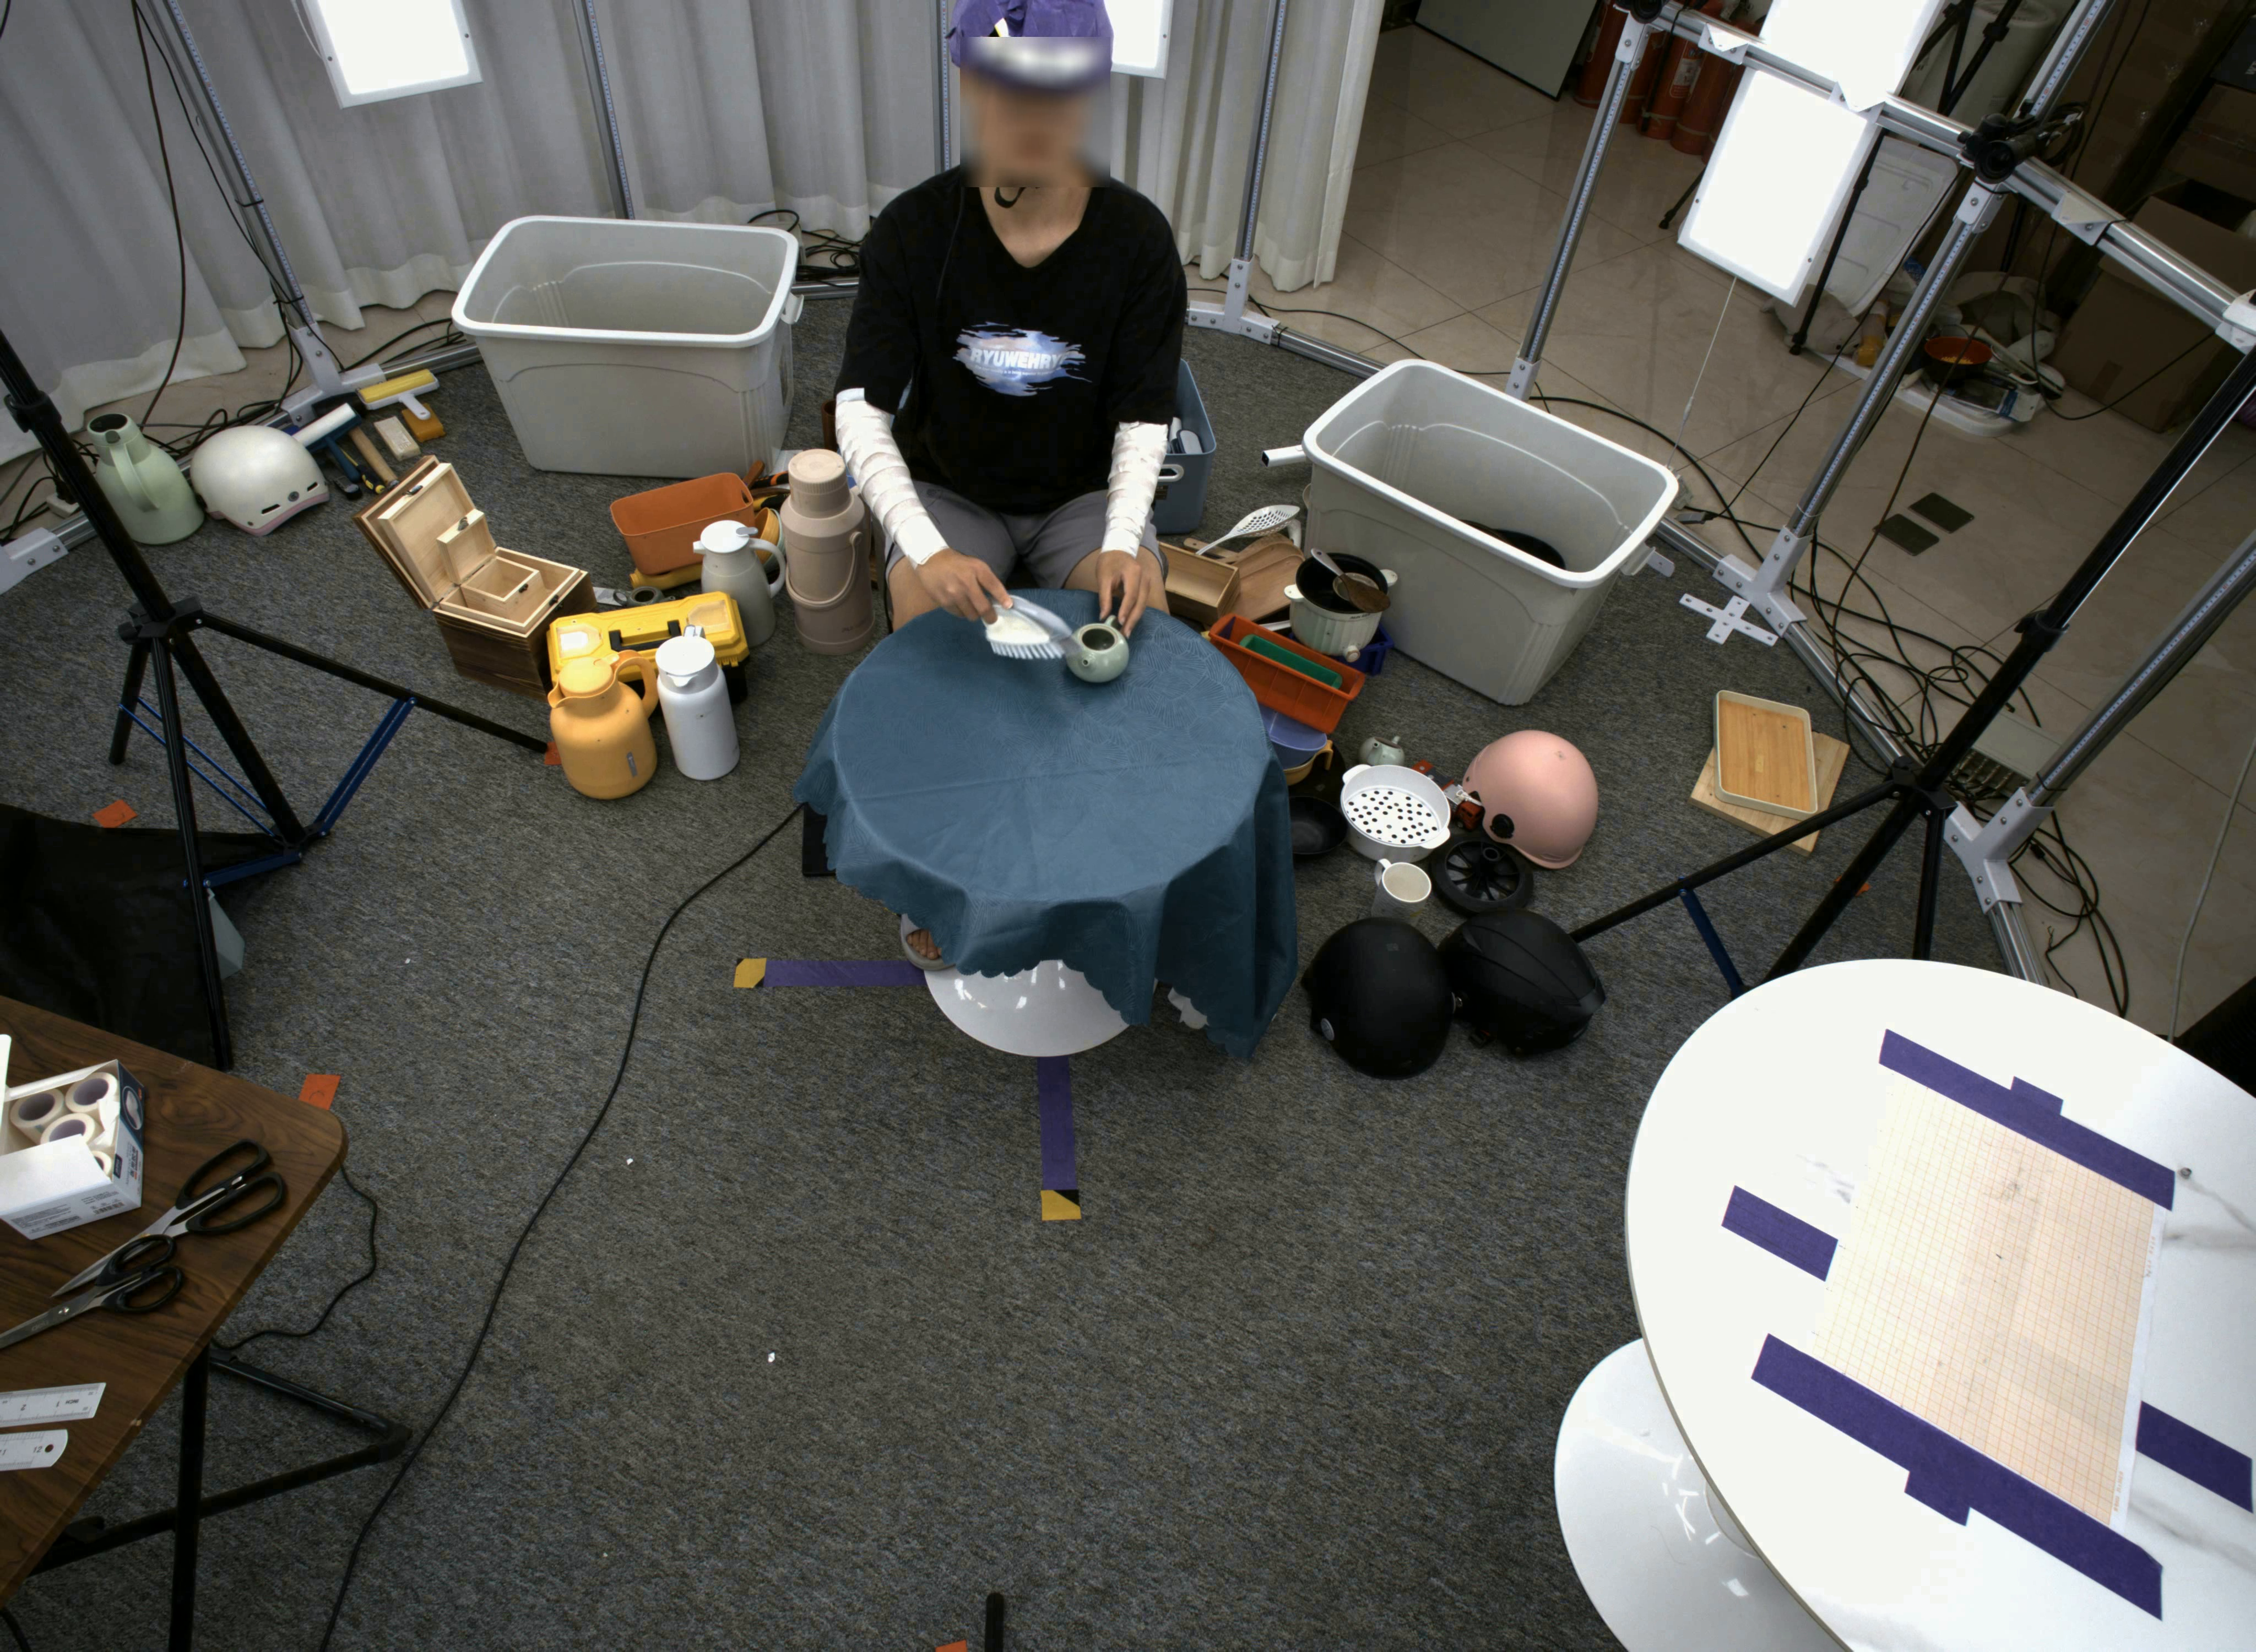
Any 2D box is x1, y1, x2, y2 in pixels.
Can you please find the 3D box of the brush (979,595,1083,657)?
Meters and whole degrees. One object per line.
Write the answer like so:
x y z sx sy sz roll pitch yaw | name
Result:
-0.141 -0.283 1.791 0.177 0.092 0.062 19 68 44 | brush

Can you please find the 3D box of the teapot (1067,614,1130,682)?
-0.039 -0.257 1.852 0.092 0.059 0.131 20 51 15 | teapot
